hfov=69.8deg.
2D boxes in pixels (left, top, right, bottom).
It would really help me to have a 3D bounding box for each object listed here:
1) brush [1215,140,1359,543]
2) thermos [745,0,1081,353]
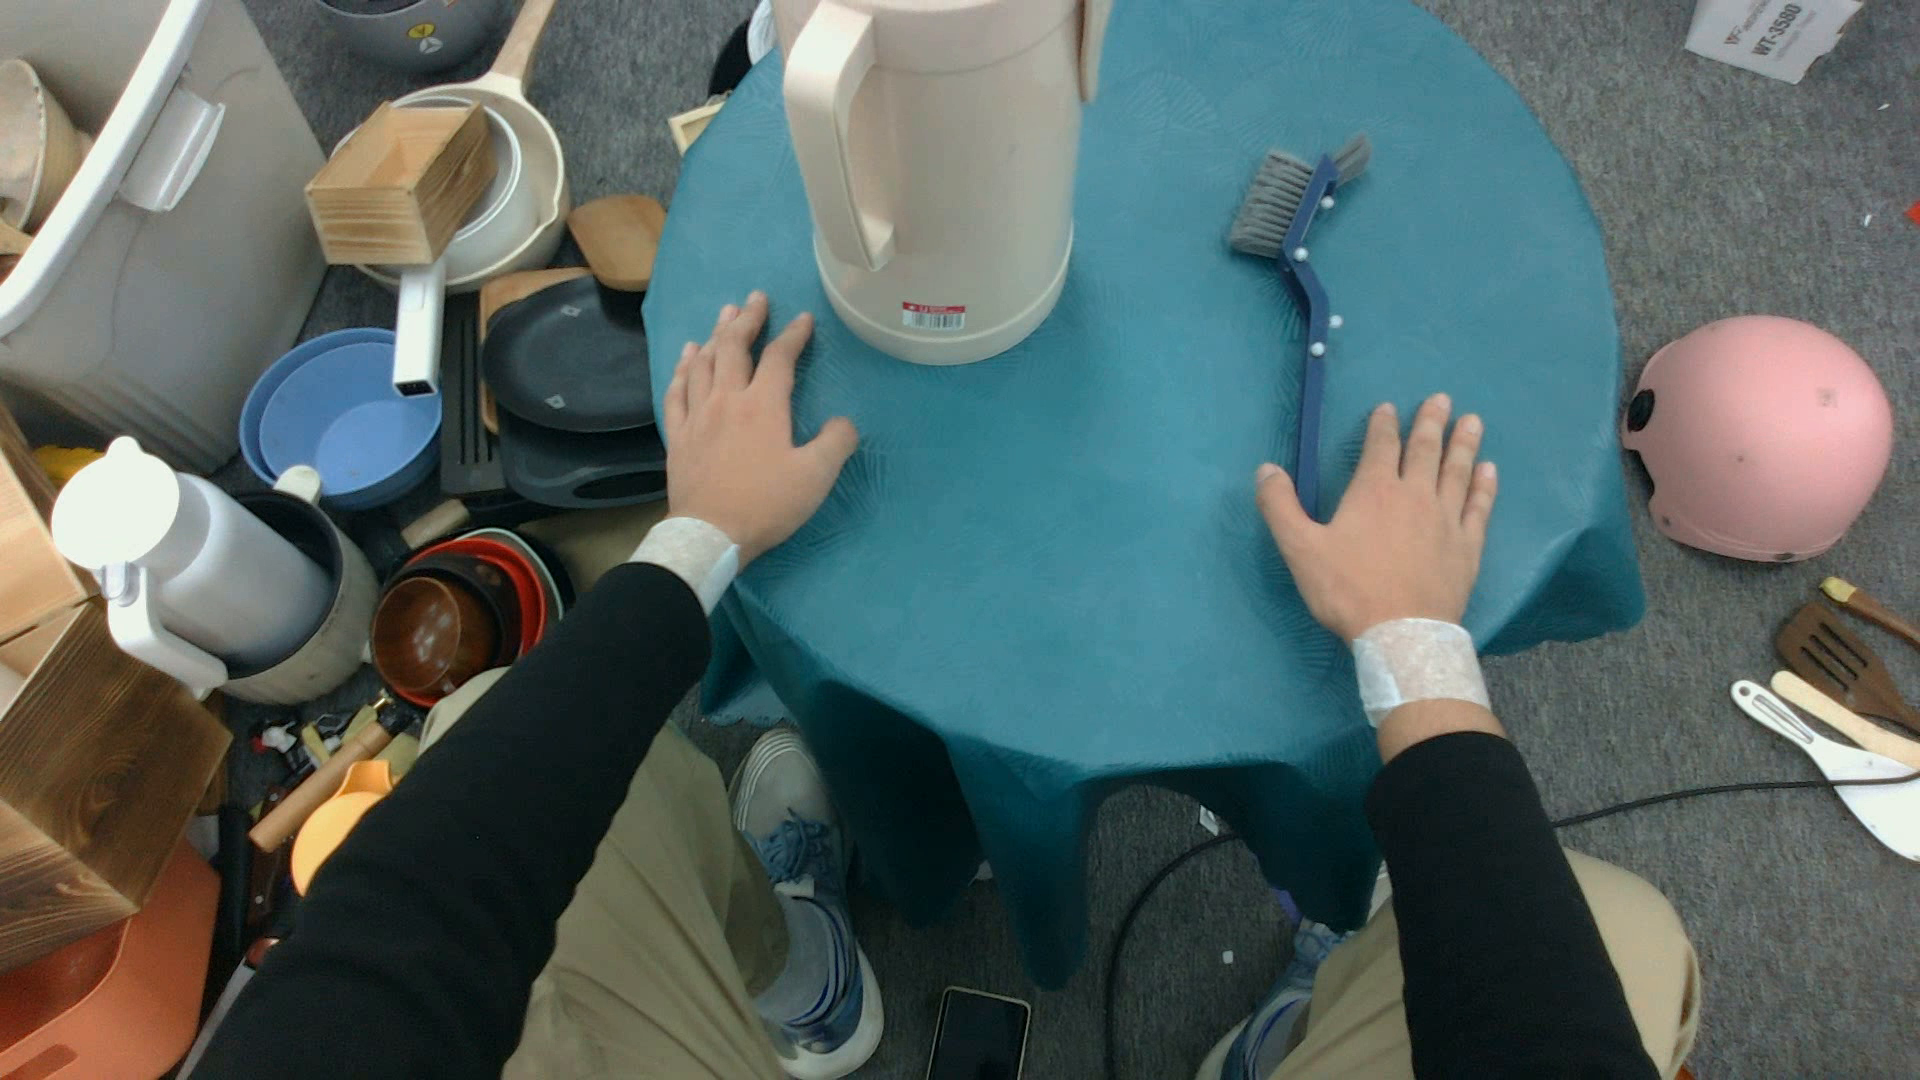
[{"bbox_3d":[0.208,-0.128,0.830,0.096,0.033,0.274,-1,66,1],"label":"brush"},{"bbox_3d":[-0.033,-0.245,0.681,0.175,0.405,0.208,23,70,7],"label":"thermos"}]
